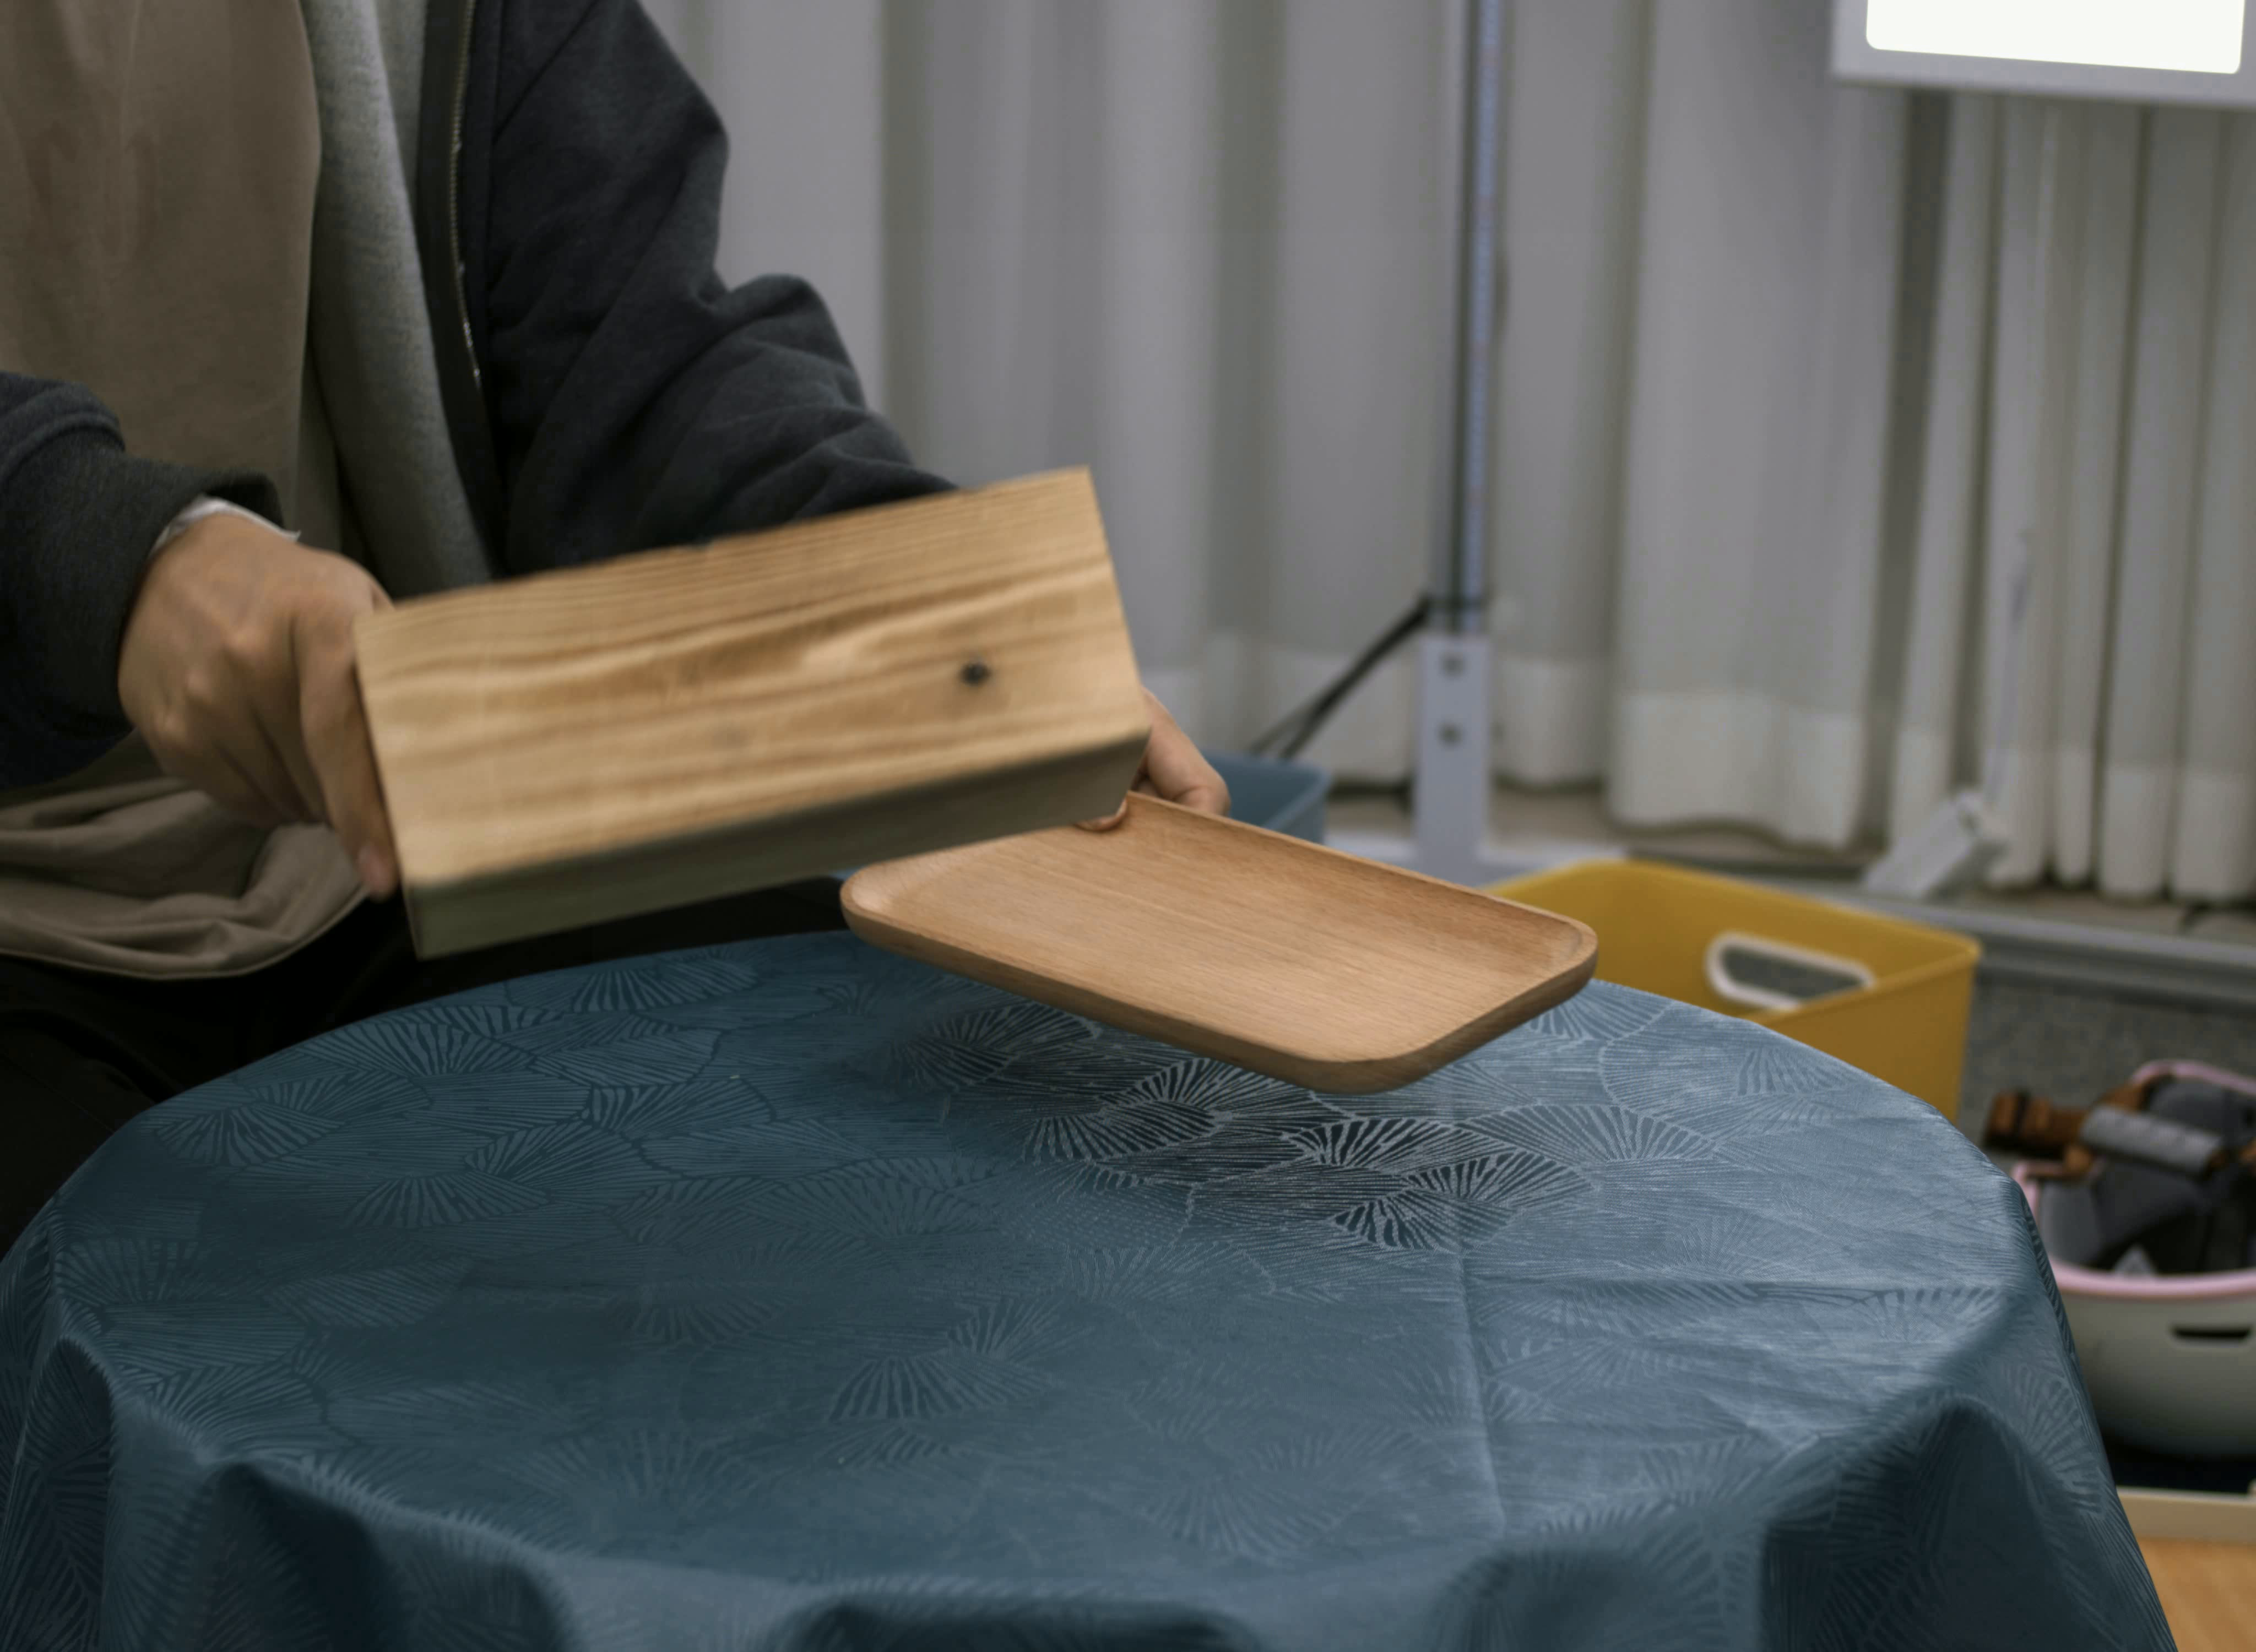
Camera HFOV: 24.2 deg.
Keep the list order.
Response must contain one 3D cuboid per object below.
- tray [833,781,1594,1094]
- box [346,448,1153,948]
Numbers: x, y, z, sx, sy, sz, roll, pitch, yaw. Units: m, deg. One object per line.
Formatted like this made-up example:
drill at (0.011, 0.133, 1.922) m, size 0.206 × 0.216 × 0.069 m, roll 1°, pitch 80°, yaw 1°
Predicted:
tray at (0.025, 0.033, 1.689) m, size 0.247 × 0.023 × 0.131 m, roll 16°, pitch 28°, yaw 42°
box at (-0.108, -0.035, 1.491) m, size 0.211 × 0.080 × 0.108 m, roll -12°, pitch -12°, yaw -10°
